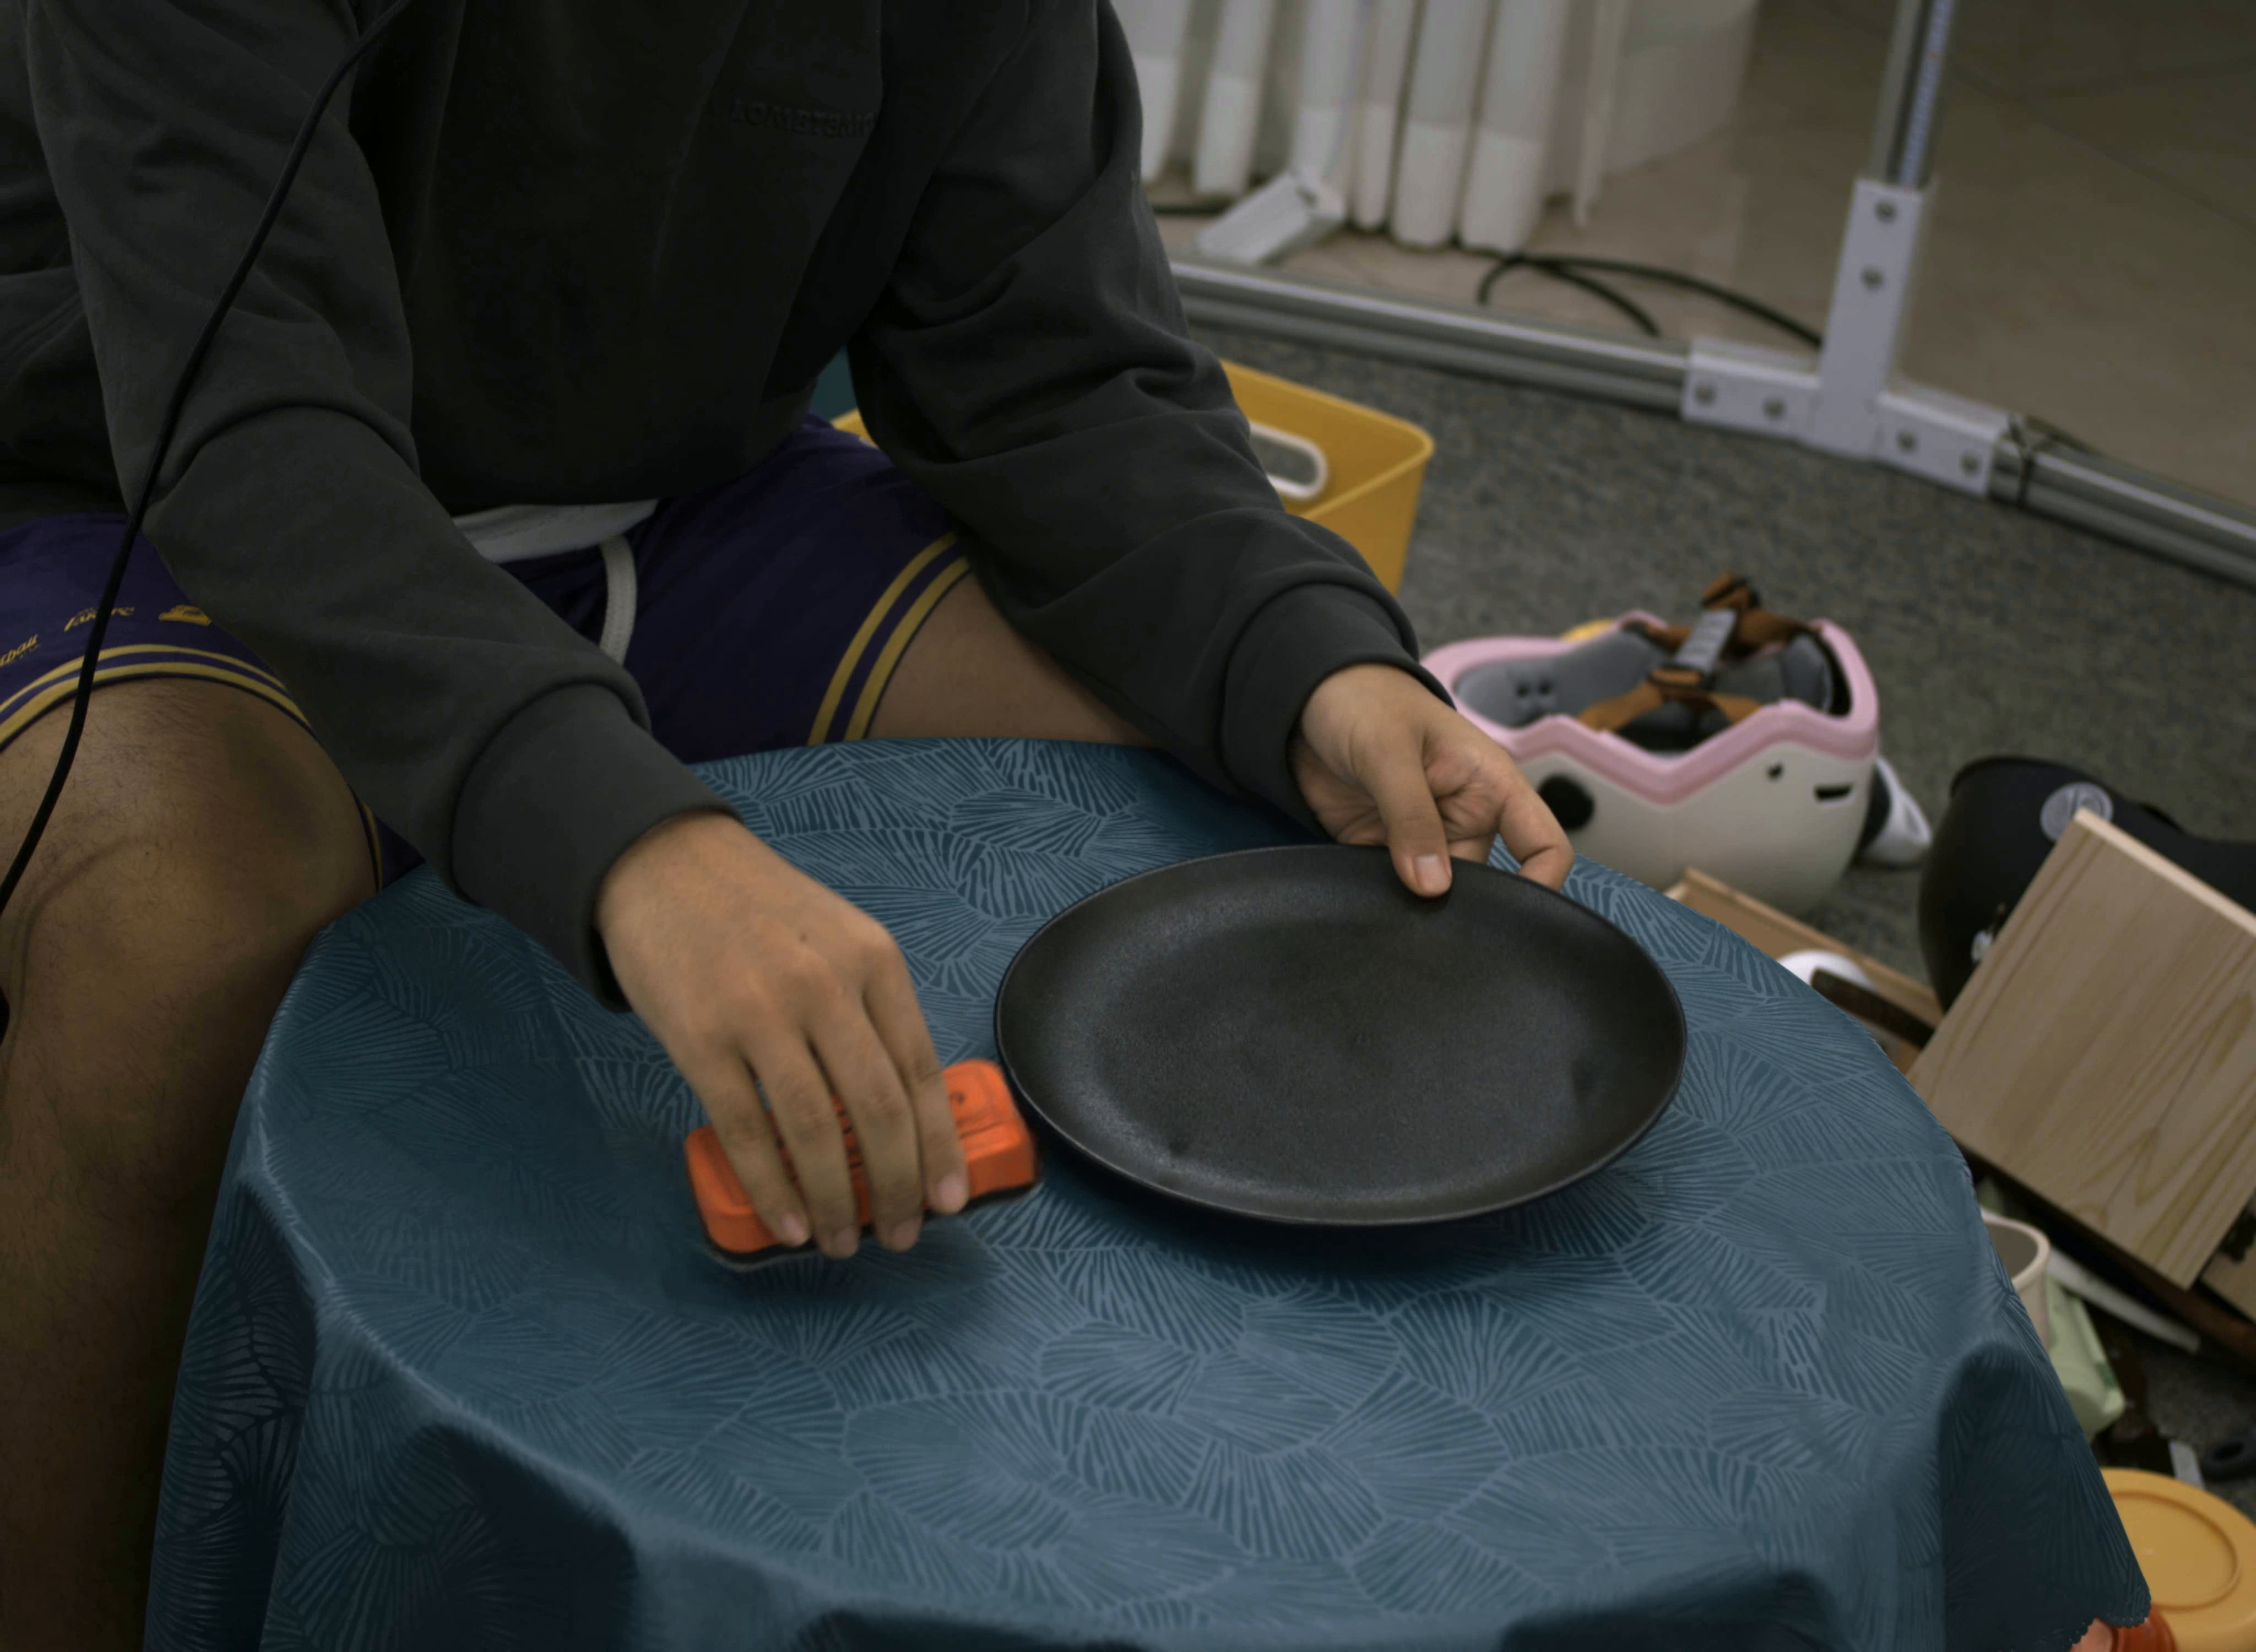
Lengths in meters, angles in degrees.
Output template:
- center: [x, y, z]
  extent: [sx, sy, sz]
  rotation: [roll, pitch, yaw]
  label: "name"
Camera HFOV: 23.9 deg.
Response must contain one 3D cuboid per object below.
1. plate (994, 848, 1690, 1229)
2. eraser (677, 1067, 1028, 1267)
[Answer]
- center: [0.074, 0.078, 1.862]
  extent: [0.243, 0.023, 0.246]
  rotation: [0, 30, -1]
  label: "plate"
- center: [-0.090, 0.111, 1.736]
  extent: [0.107, 0.023, 0.059]
  rotation: [-11, 32, -15]
  label: "eraser"
